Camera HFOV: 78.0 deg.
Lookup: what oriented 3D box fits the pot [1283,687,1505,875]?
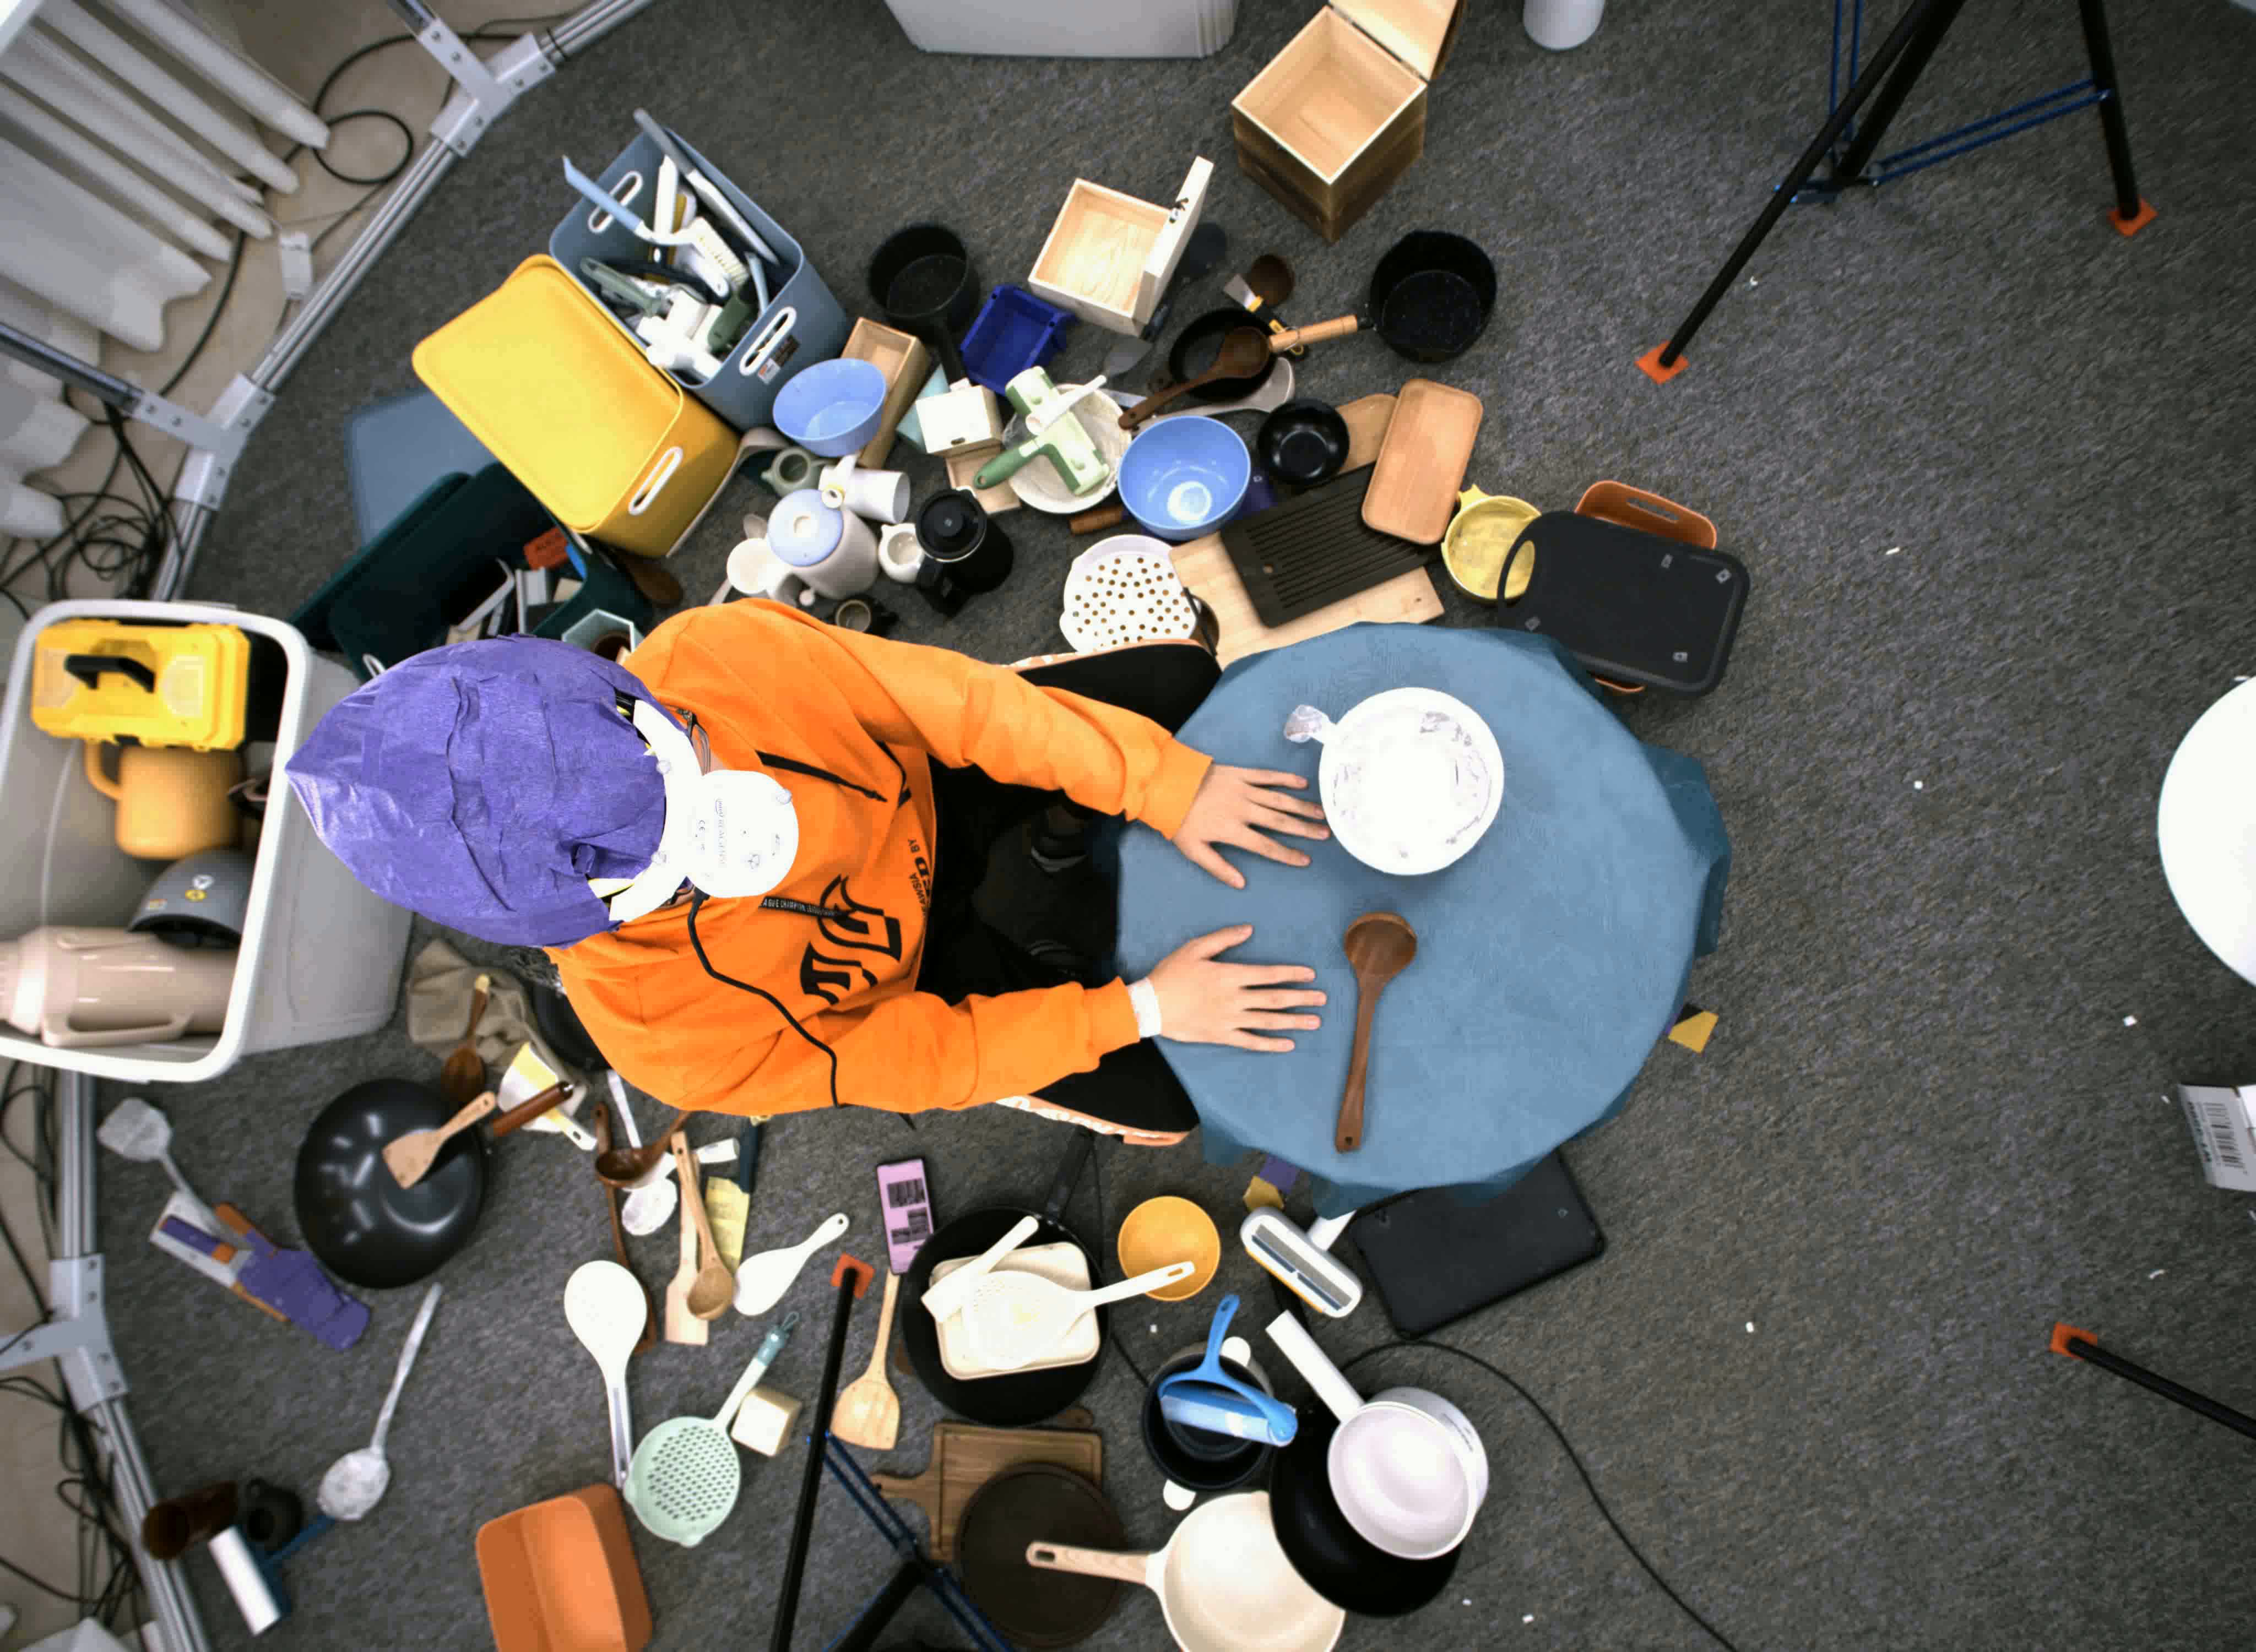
[{"bbox_3d":[0.261,-0.056,1.399,0.233,0.137,0.179,31,91,10],"label":"pot"}]

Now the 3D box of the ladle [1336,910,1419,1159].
[{"bbox_3d":[0.245,0.215,1.424,0.077,0.065,0.259,10,88,14],"label":"ladle"}]
